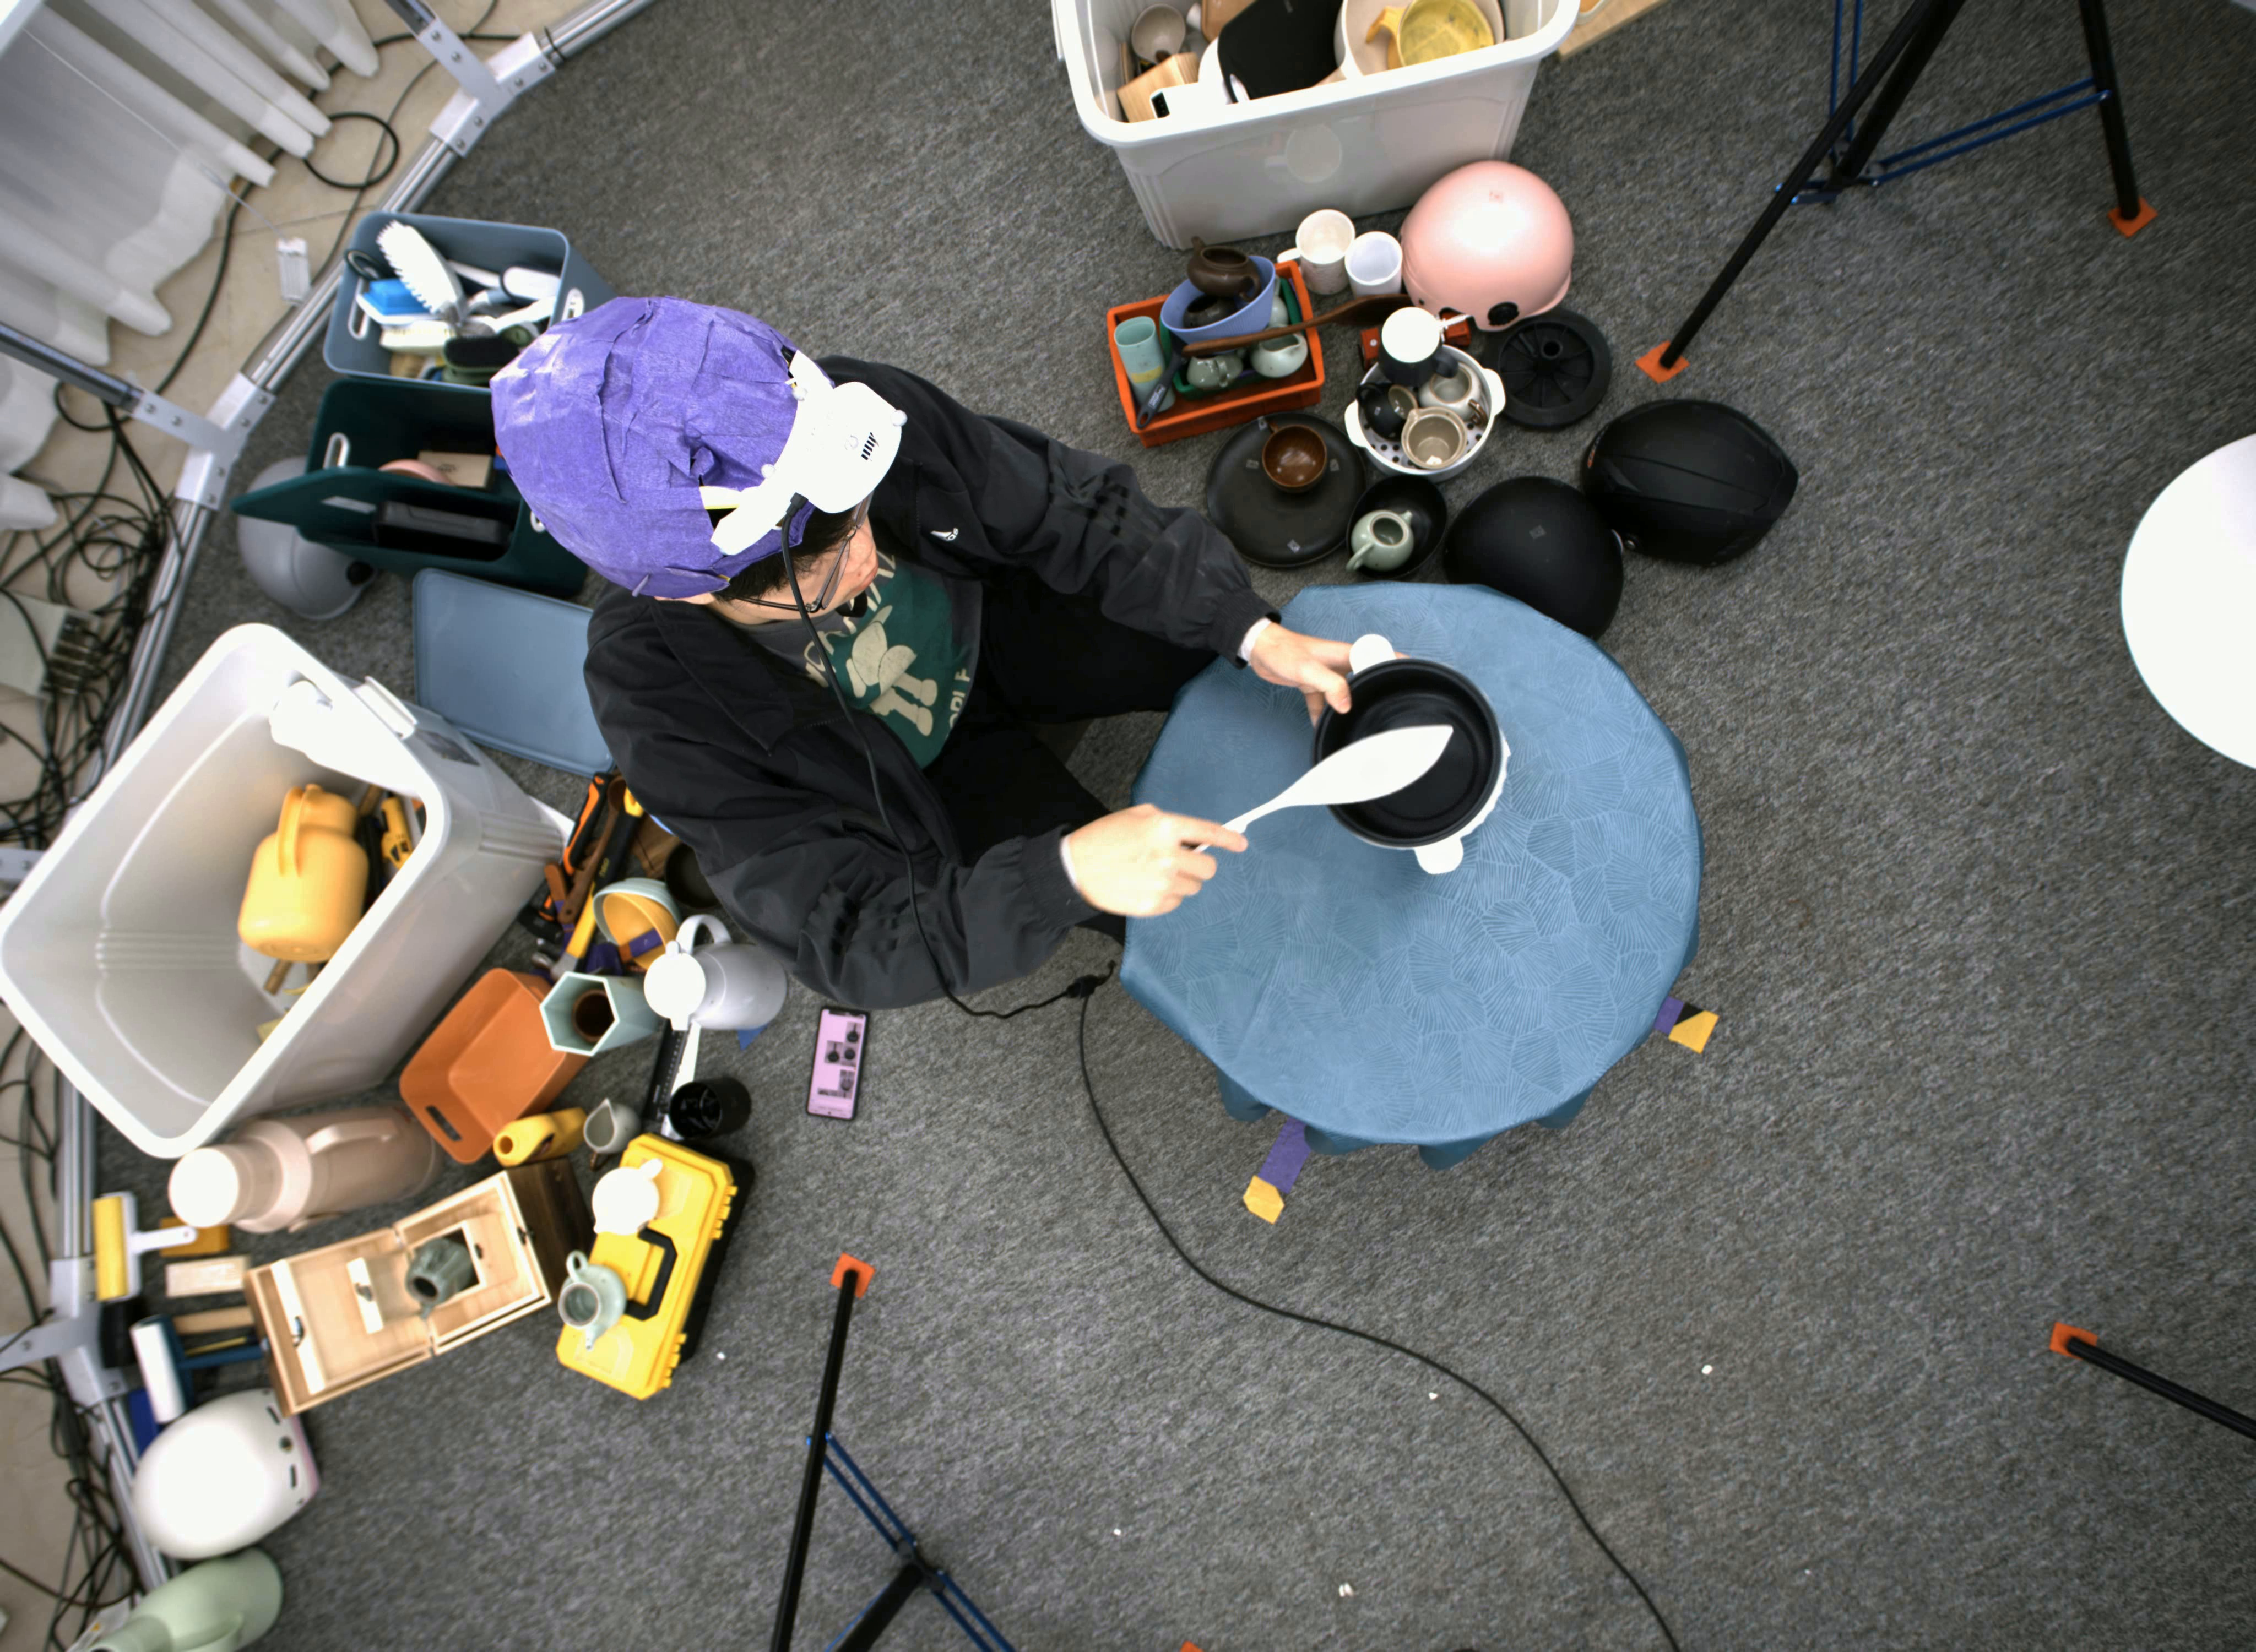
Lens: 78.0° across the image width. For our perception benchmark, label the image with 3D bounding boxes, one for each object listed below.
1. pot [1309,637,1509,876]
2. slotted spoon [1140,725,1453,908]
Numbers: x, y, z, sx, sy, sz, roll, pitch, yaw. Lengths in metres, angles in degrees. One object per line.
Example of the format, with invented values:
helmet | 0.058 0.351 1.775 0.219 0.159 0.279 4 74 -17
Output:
pot | 0.276 -0.061 1.356 0.192 0.142 0.238 -20 81 16
slotted spoon | 0.147 -0.014 1.232 0.344 0.137 0.050 -22 99 -23
